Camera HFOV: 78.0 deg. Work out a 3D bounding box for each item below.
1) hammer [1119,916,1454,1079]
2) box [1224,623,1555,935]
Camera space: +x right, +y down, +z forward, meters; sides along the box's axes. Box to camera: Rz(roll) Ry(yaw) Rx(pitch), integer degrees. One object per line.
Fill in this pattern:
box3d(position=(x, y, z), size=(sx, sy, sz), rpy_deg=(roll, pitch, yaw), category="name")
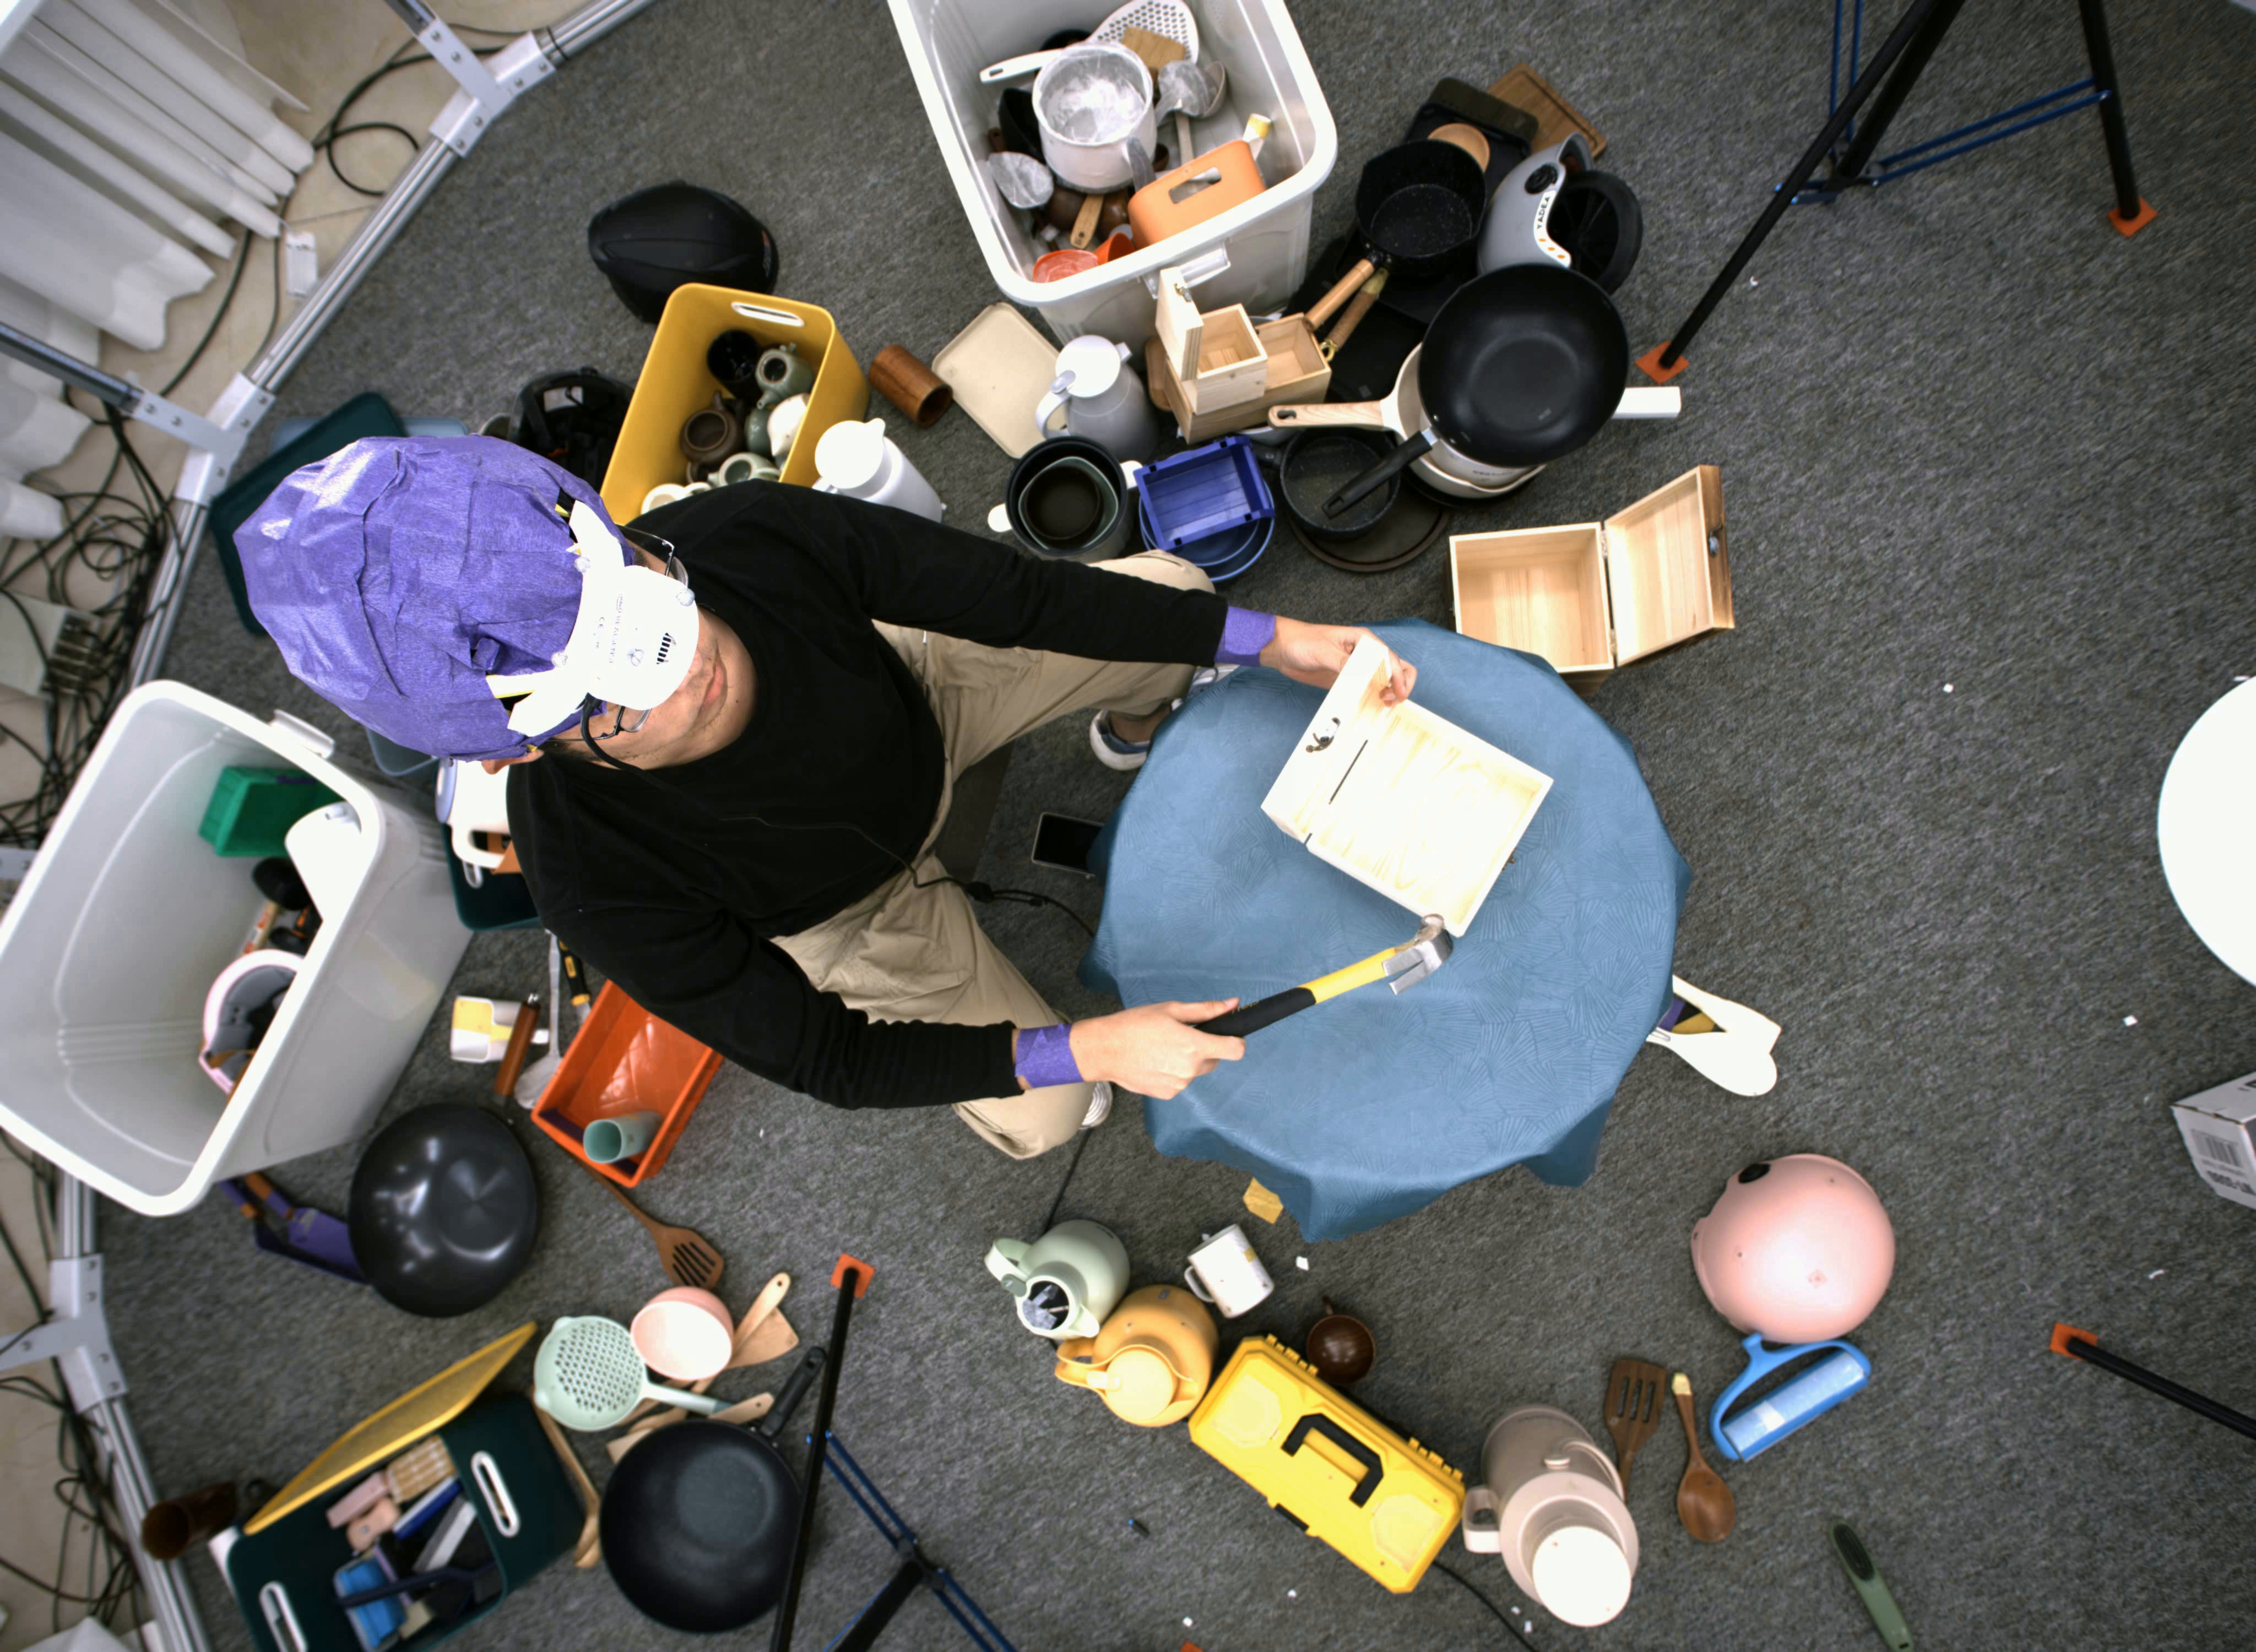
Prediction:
box3d(position=(0.144, 0.168, 1.312), size=(0.342, 0.129, 0.032), rpy_deg=(-24, 93, 18), category="hammer")
box3d(position=(0.265, -0.035, 1.341), size=(0.264, 0.253, 0.182), rpy_deg=(30, 93, 11), category="box")
